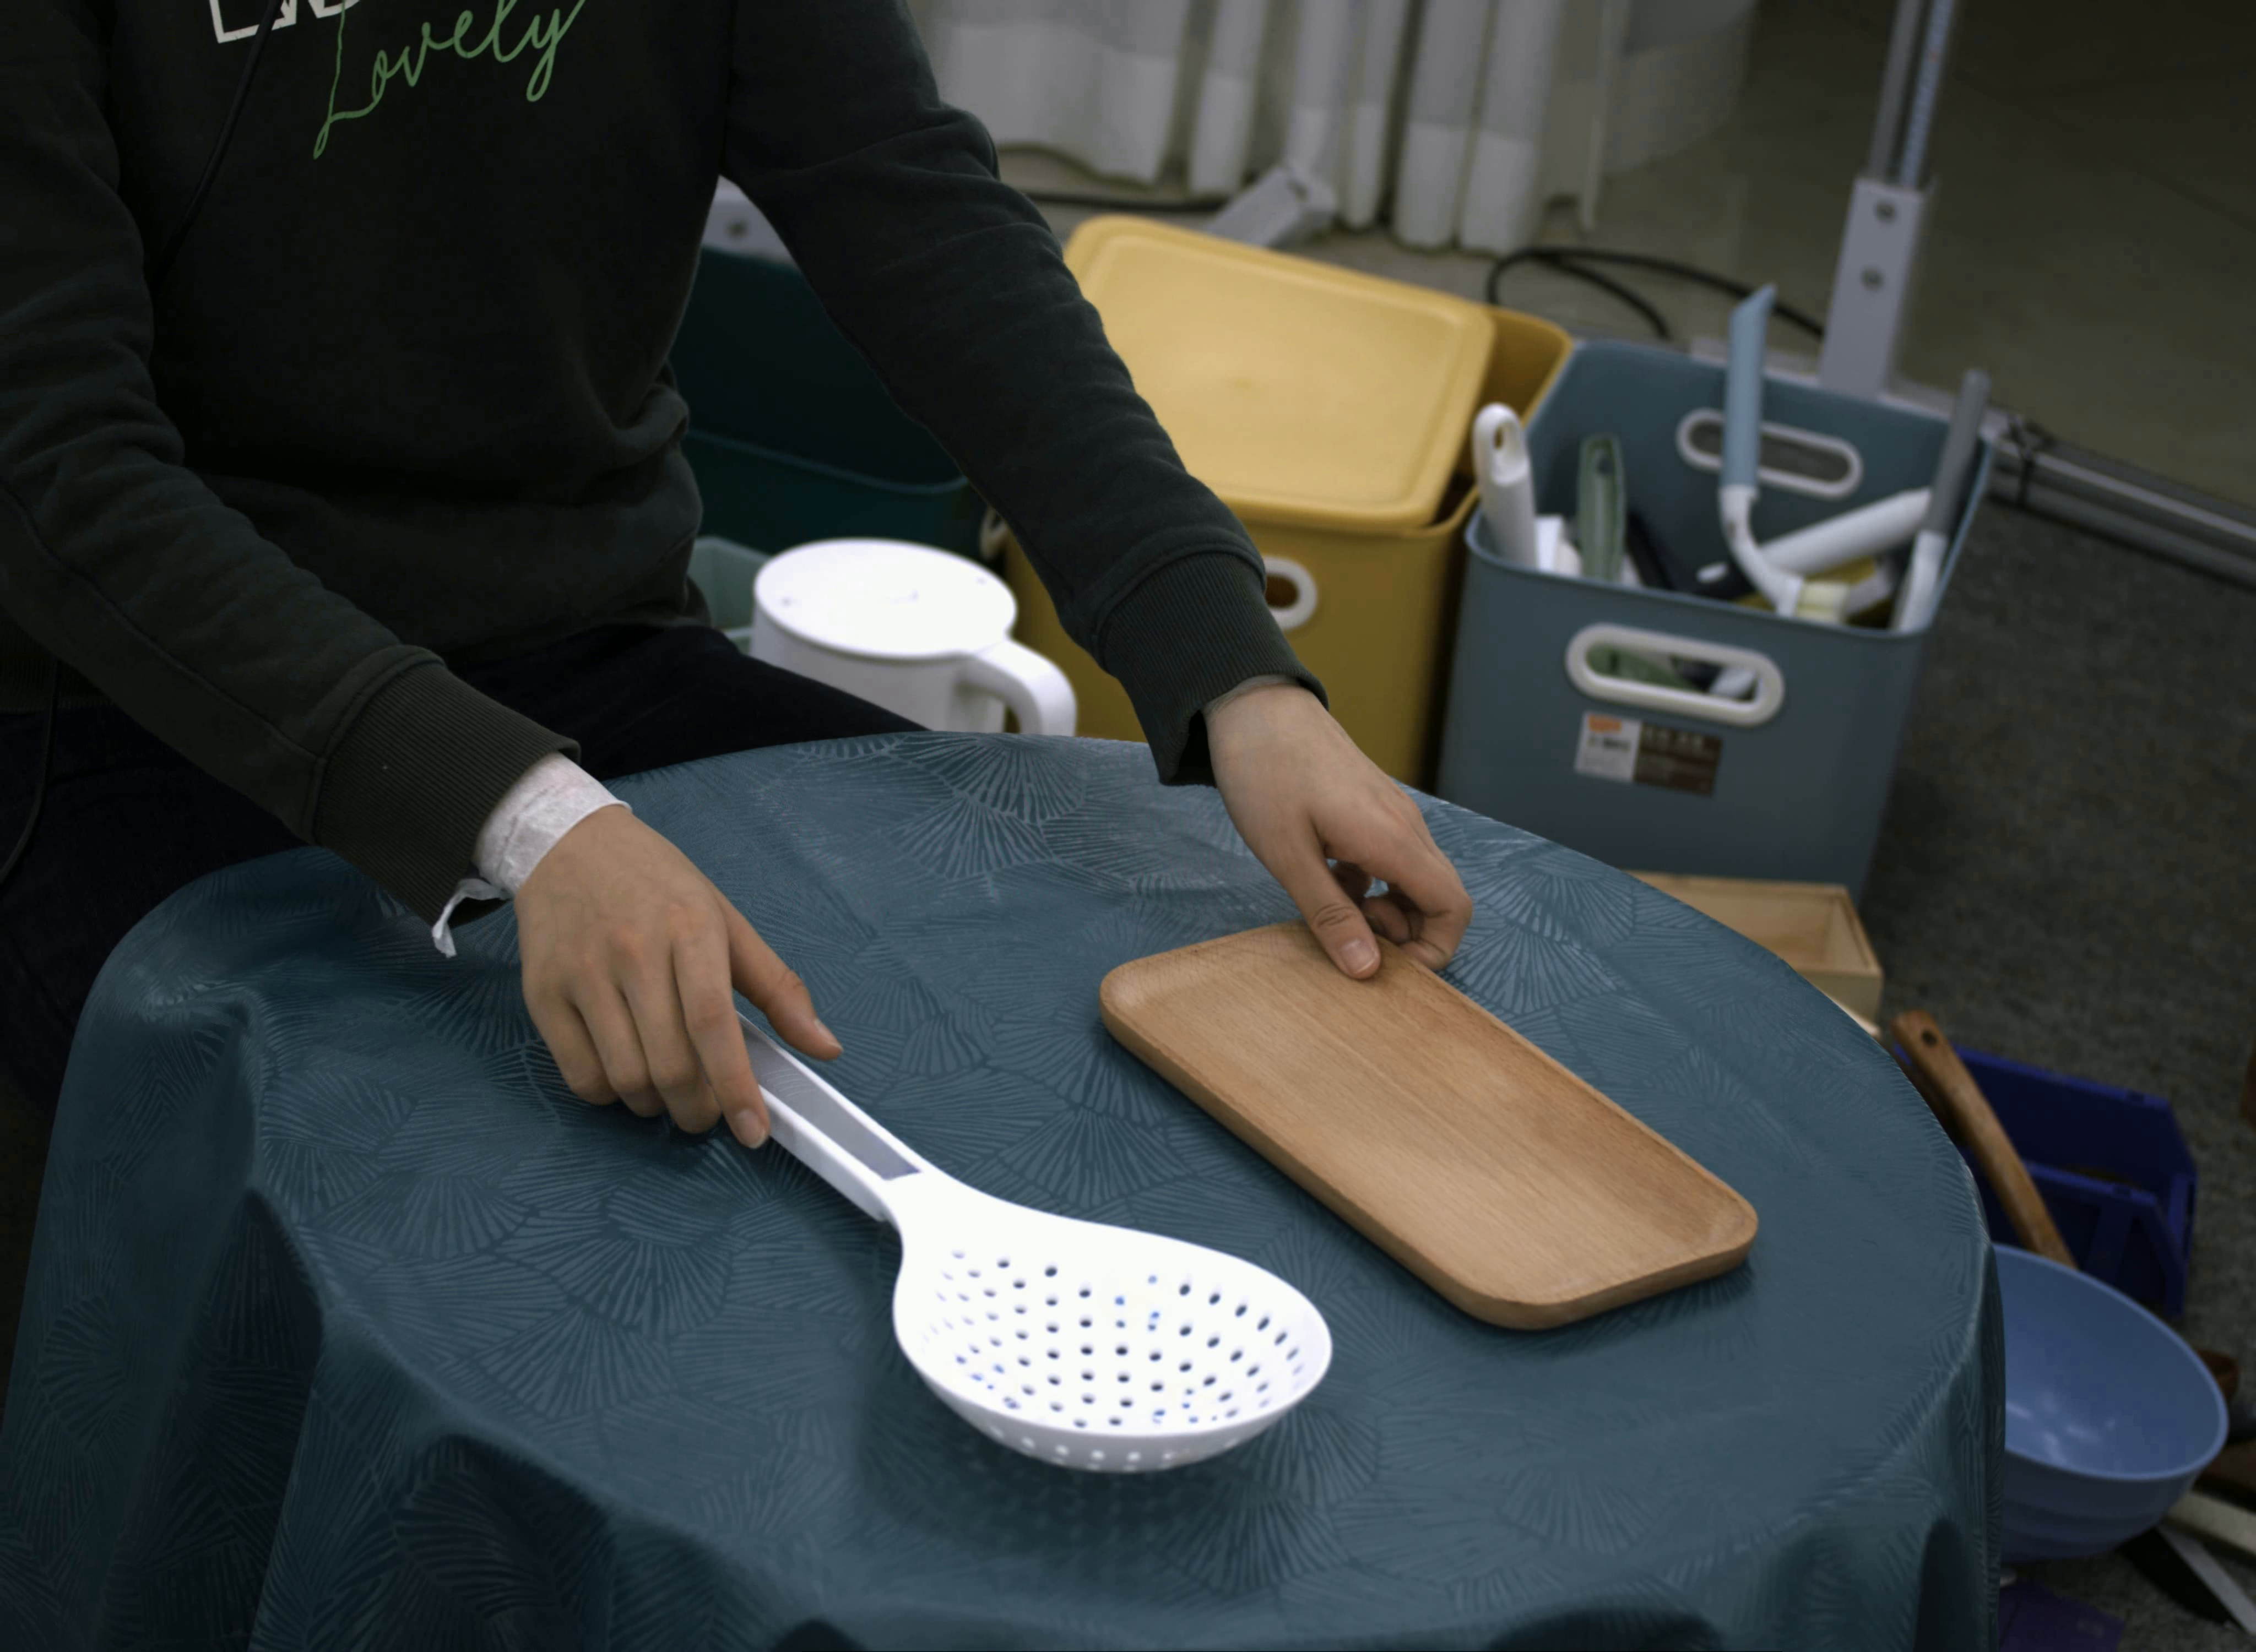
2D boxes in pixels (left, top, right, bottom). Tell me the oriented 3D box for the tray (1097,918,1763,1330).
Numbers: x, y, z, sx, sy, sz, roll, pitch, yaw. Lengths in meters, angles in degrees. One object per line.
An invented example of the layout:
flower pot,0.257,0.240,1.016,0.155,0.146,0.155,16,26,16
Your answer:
tray,0.101,0.101,1.850,0.130,0.023,0.253,-11,31,-34

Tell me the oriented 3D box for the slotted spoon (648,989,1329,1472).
slotted spoon,-0.065,0.125,1.732,0.135,0.045,0.353,-9,30,-32
